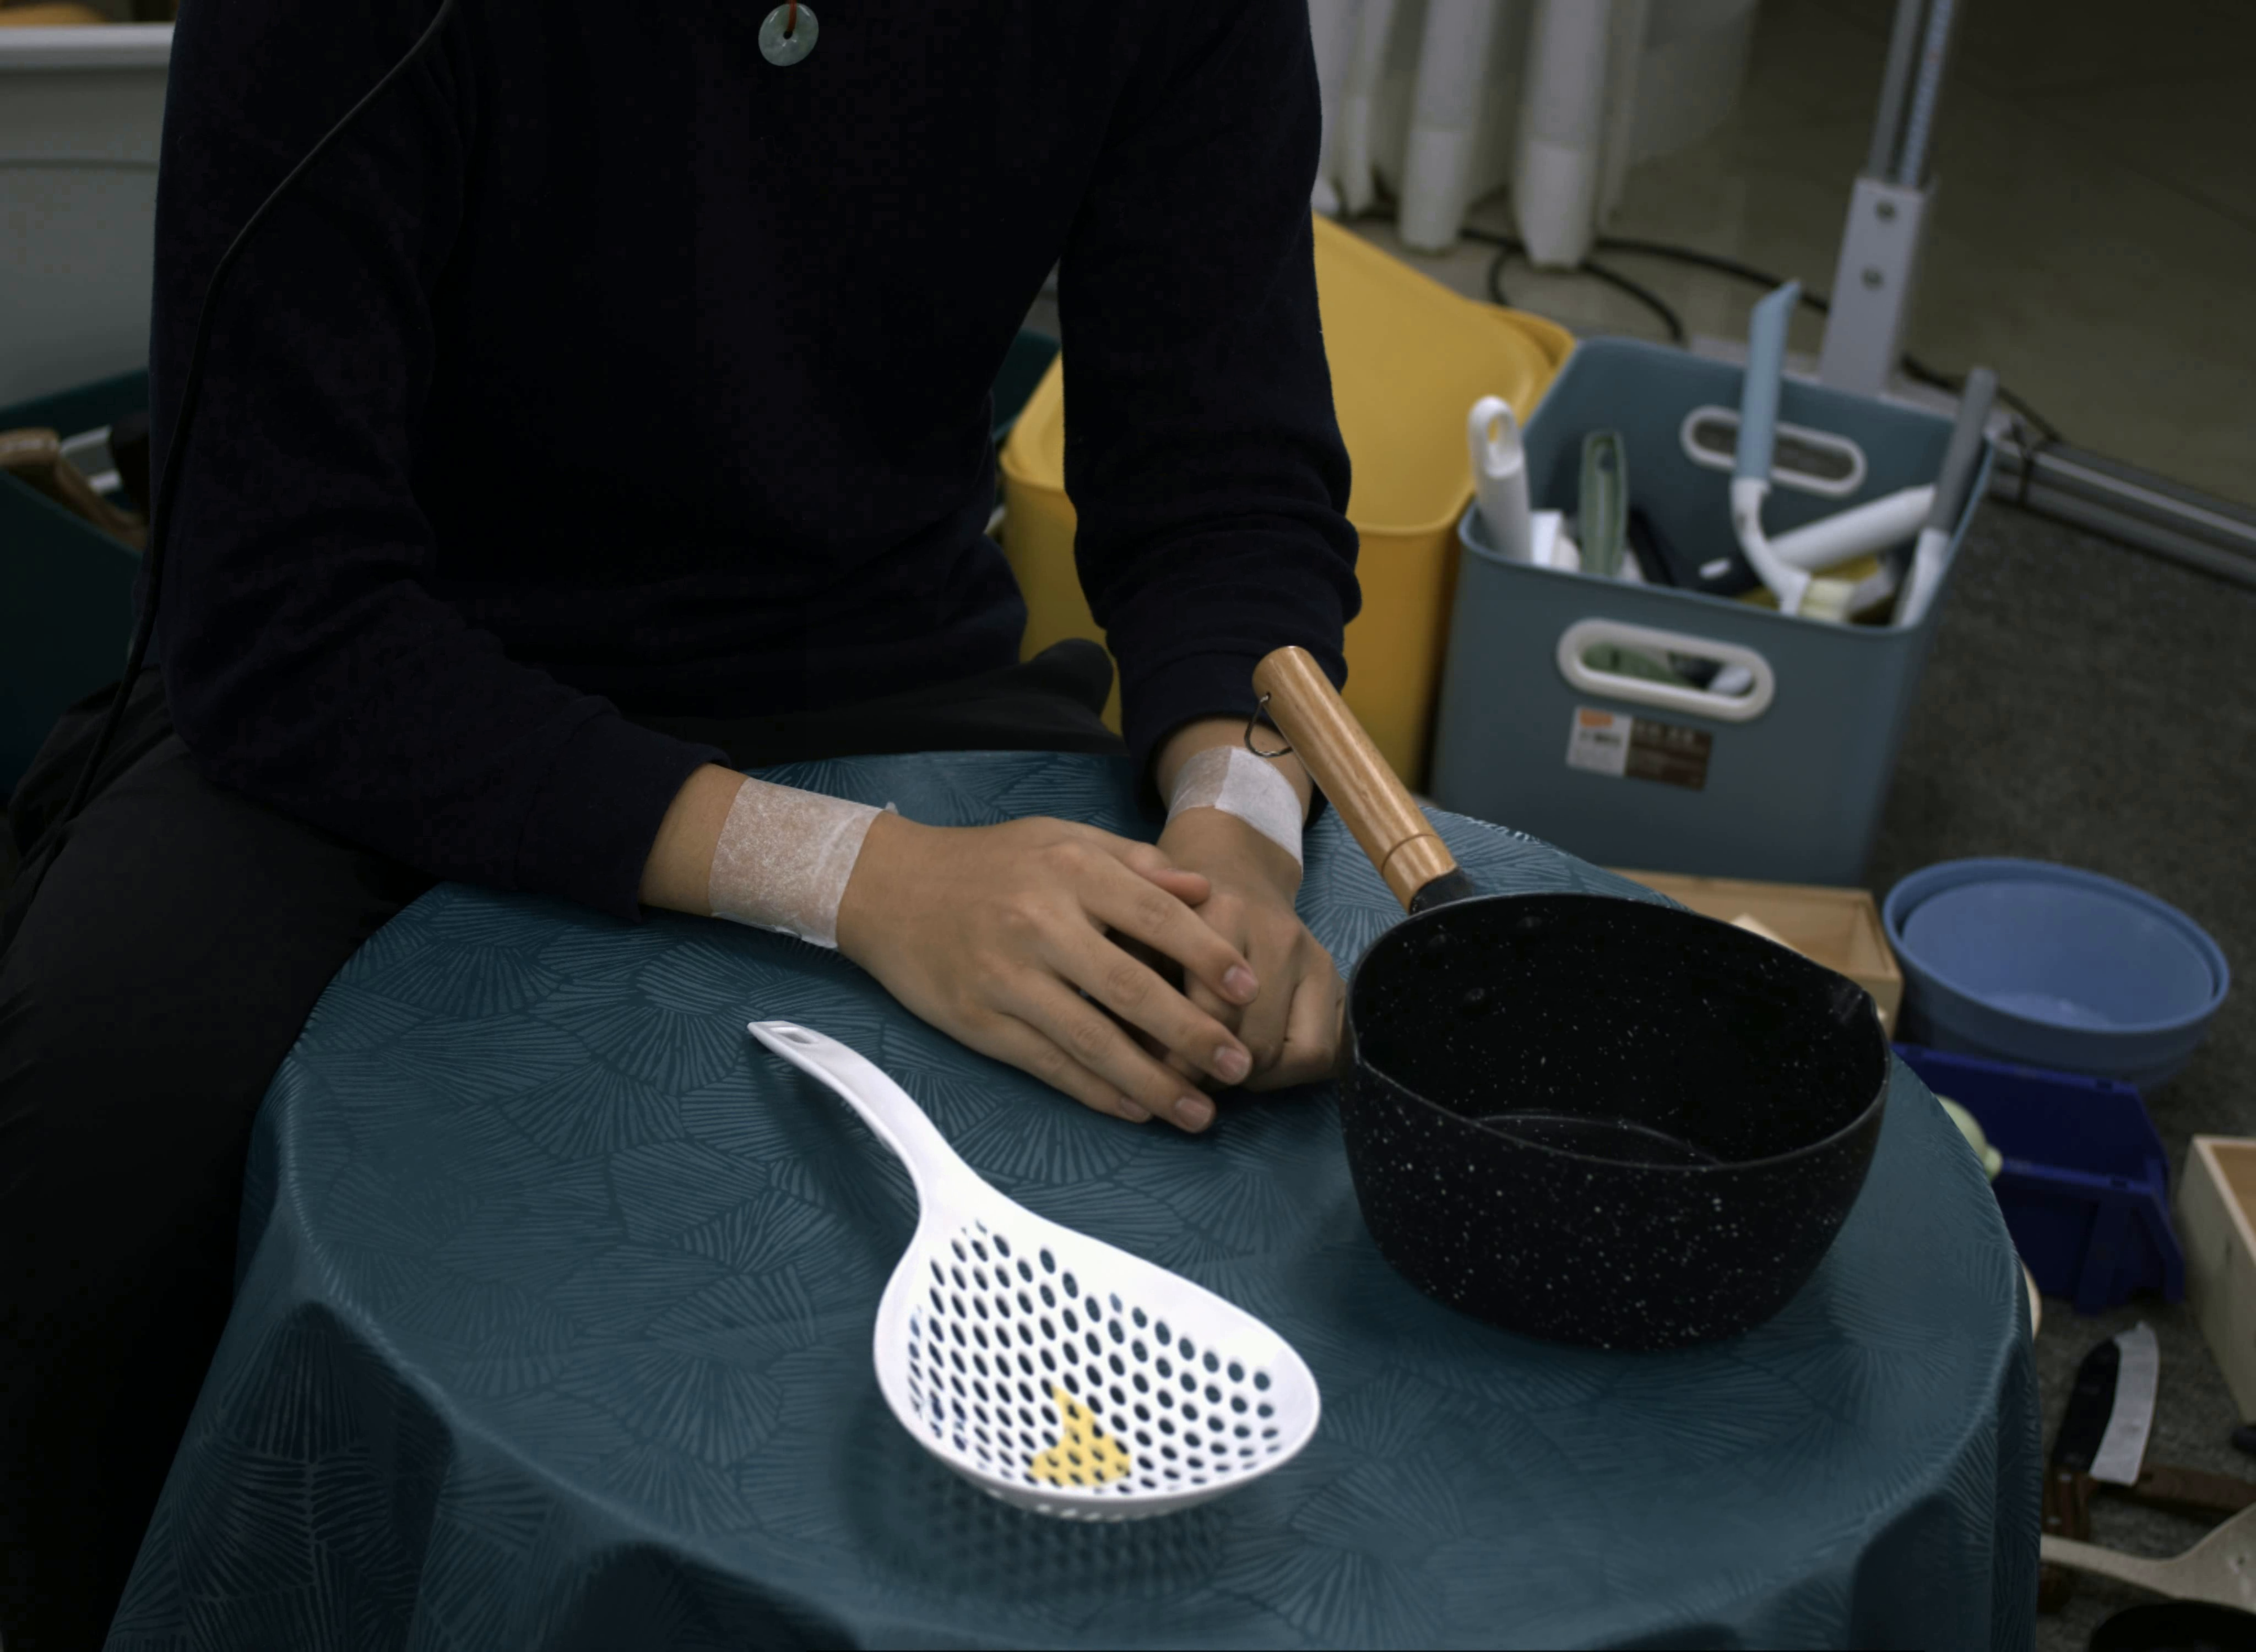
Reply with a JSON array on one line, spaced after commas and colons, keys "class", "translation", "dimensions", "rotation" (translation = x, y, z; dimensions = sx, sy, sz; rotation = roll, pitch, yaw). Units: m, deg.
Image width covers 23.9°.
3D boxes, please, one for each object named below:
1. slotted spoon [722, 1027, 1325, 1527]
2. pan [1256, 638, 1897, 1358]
[{"class": "slotted spoon", "translation": [-0.056, 0.134, 1.723], "dimensions": [0.136, 0.050, 0.351], "rotation": [-8, 32, -24]}, {"class": "pan", "translation": [0.124, 0.056, 1.843], "dimensions": [0.206, 0.108, 0.346], "rotation": [-9, 32, -26]}]
